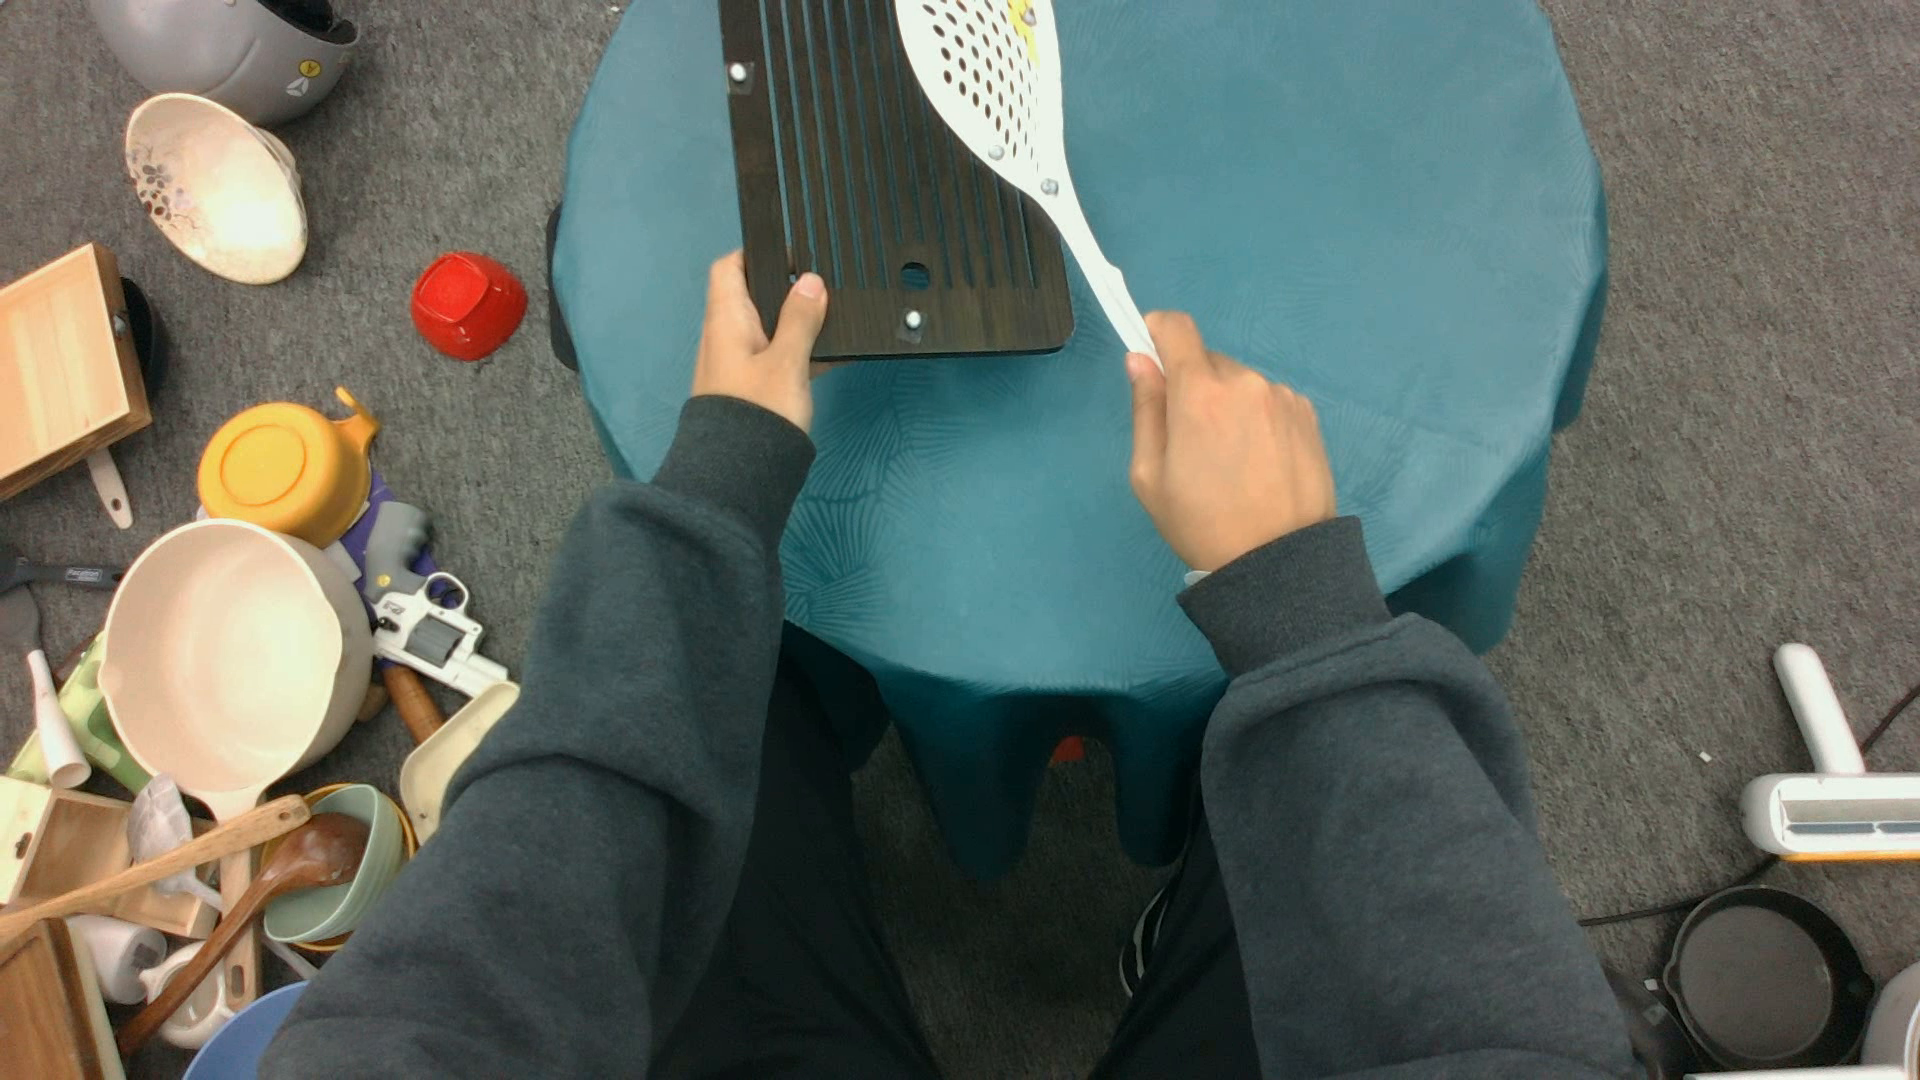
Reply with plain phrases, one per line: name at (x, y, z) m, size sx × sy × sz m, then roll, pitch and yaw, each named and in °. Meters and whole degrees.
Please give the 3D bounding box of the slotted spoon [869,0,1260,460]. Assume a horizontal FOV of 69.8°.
slotted spoon at (0.044, -0.181, 0.664) m, size 0.050 × 0.136 × 0.348 m, roll -17°, pitch 72°, yaw -22°

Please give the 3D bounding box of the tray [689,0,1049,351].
tray at (-0.057, -0.244, 0.748) m, size 0.170 × 0.018 × 0.306 m, roll -4°, pitch 73°, yaw -15°
